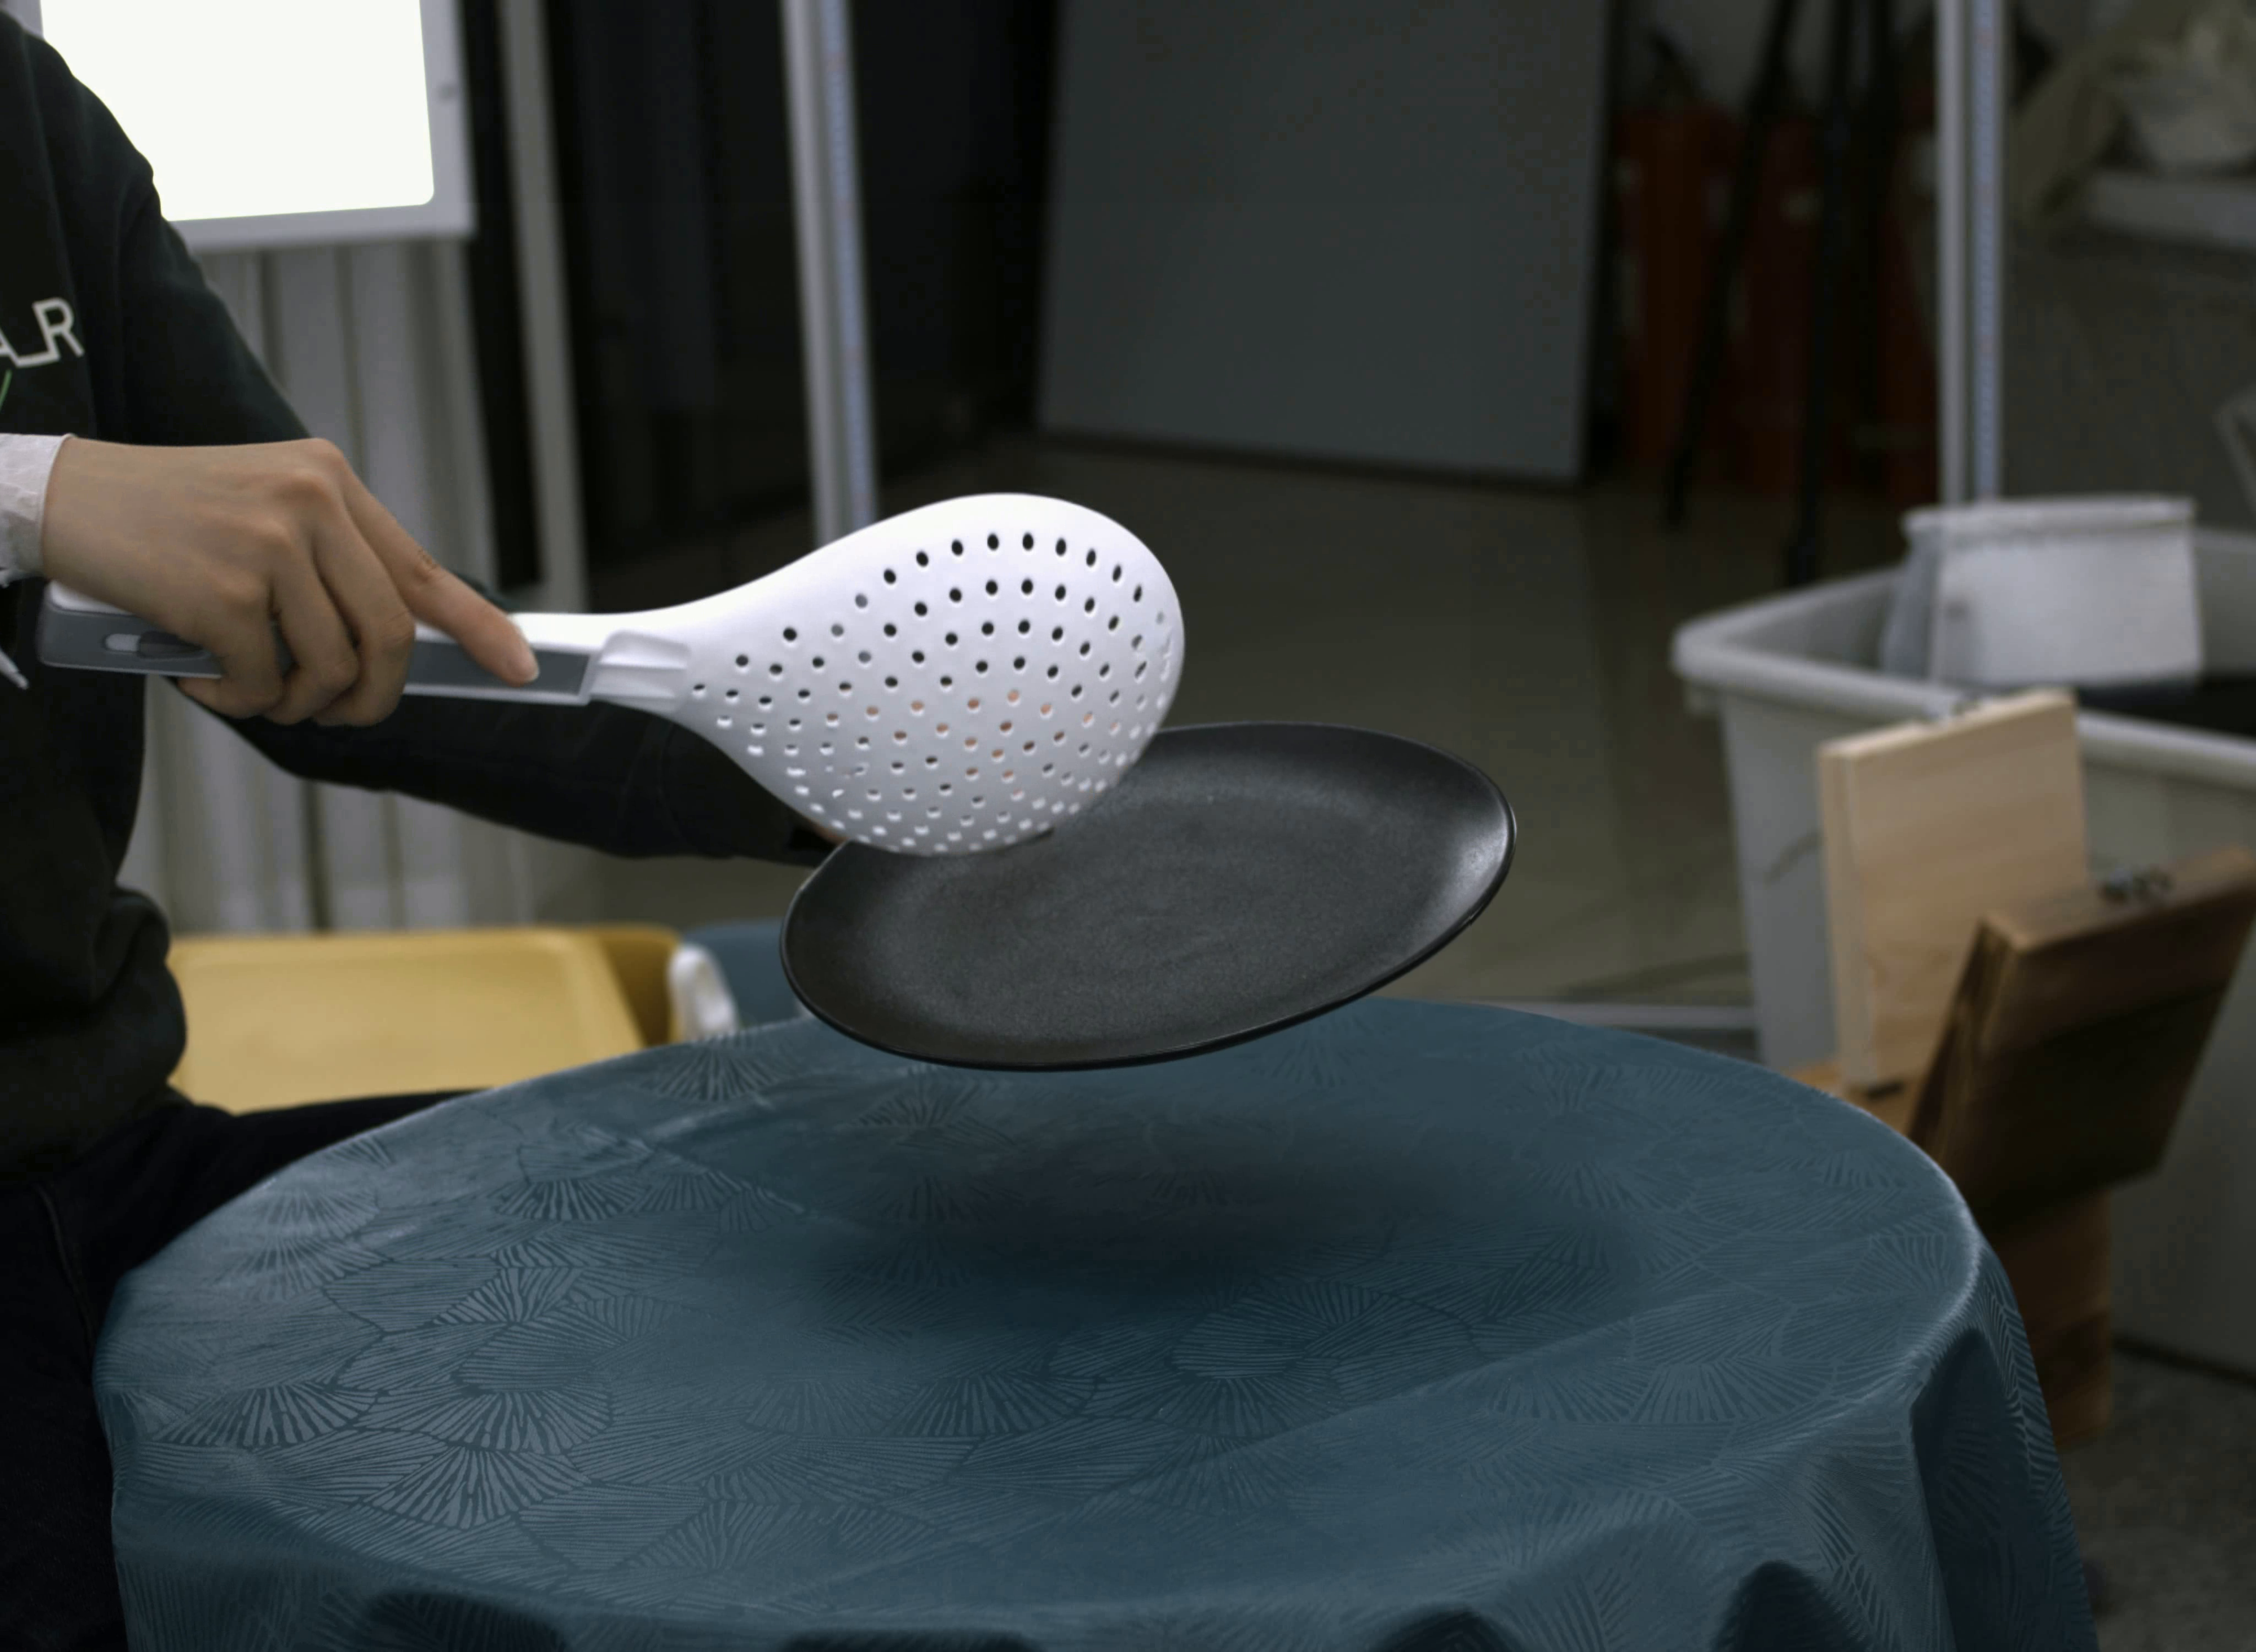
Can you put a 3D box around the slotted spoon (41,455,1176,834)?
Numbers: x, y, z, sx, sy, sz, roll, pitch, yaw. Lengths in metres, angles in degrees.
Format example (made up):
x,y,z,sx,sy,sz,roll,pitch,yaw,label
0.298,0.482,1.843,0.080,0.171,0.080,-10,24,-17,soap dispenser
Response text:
x,y,z,sx,sy,sz,roll,pitch,yaw,label
-0.145,-0.055,1.593,0.342,0.137,0.046,6,34,-18,slotted spoon

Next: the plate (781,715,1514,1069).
x,y,z,sx,sy,sz,roll,pitch,yaw,label
0.007,0.026,1.744,0.242,0.023,0.245,-10,24,4,plate
